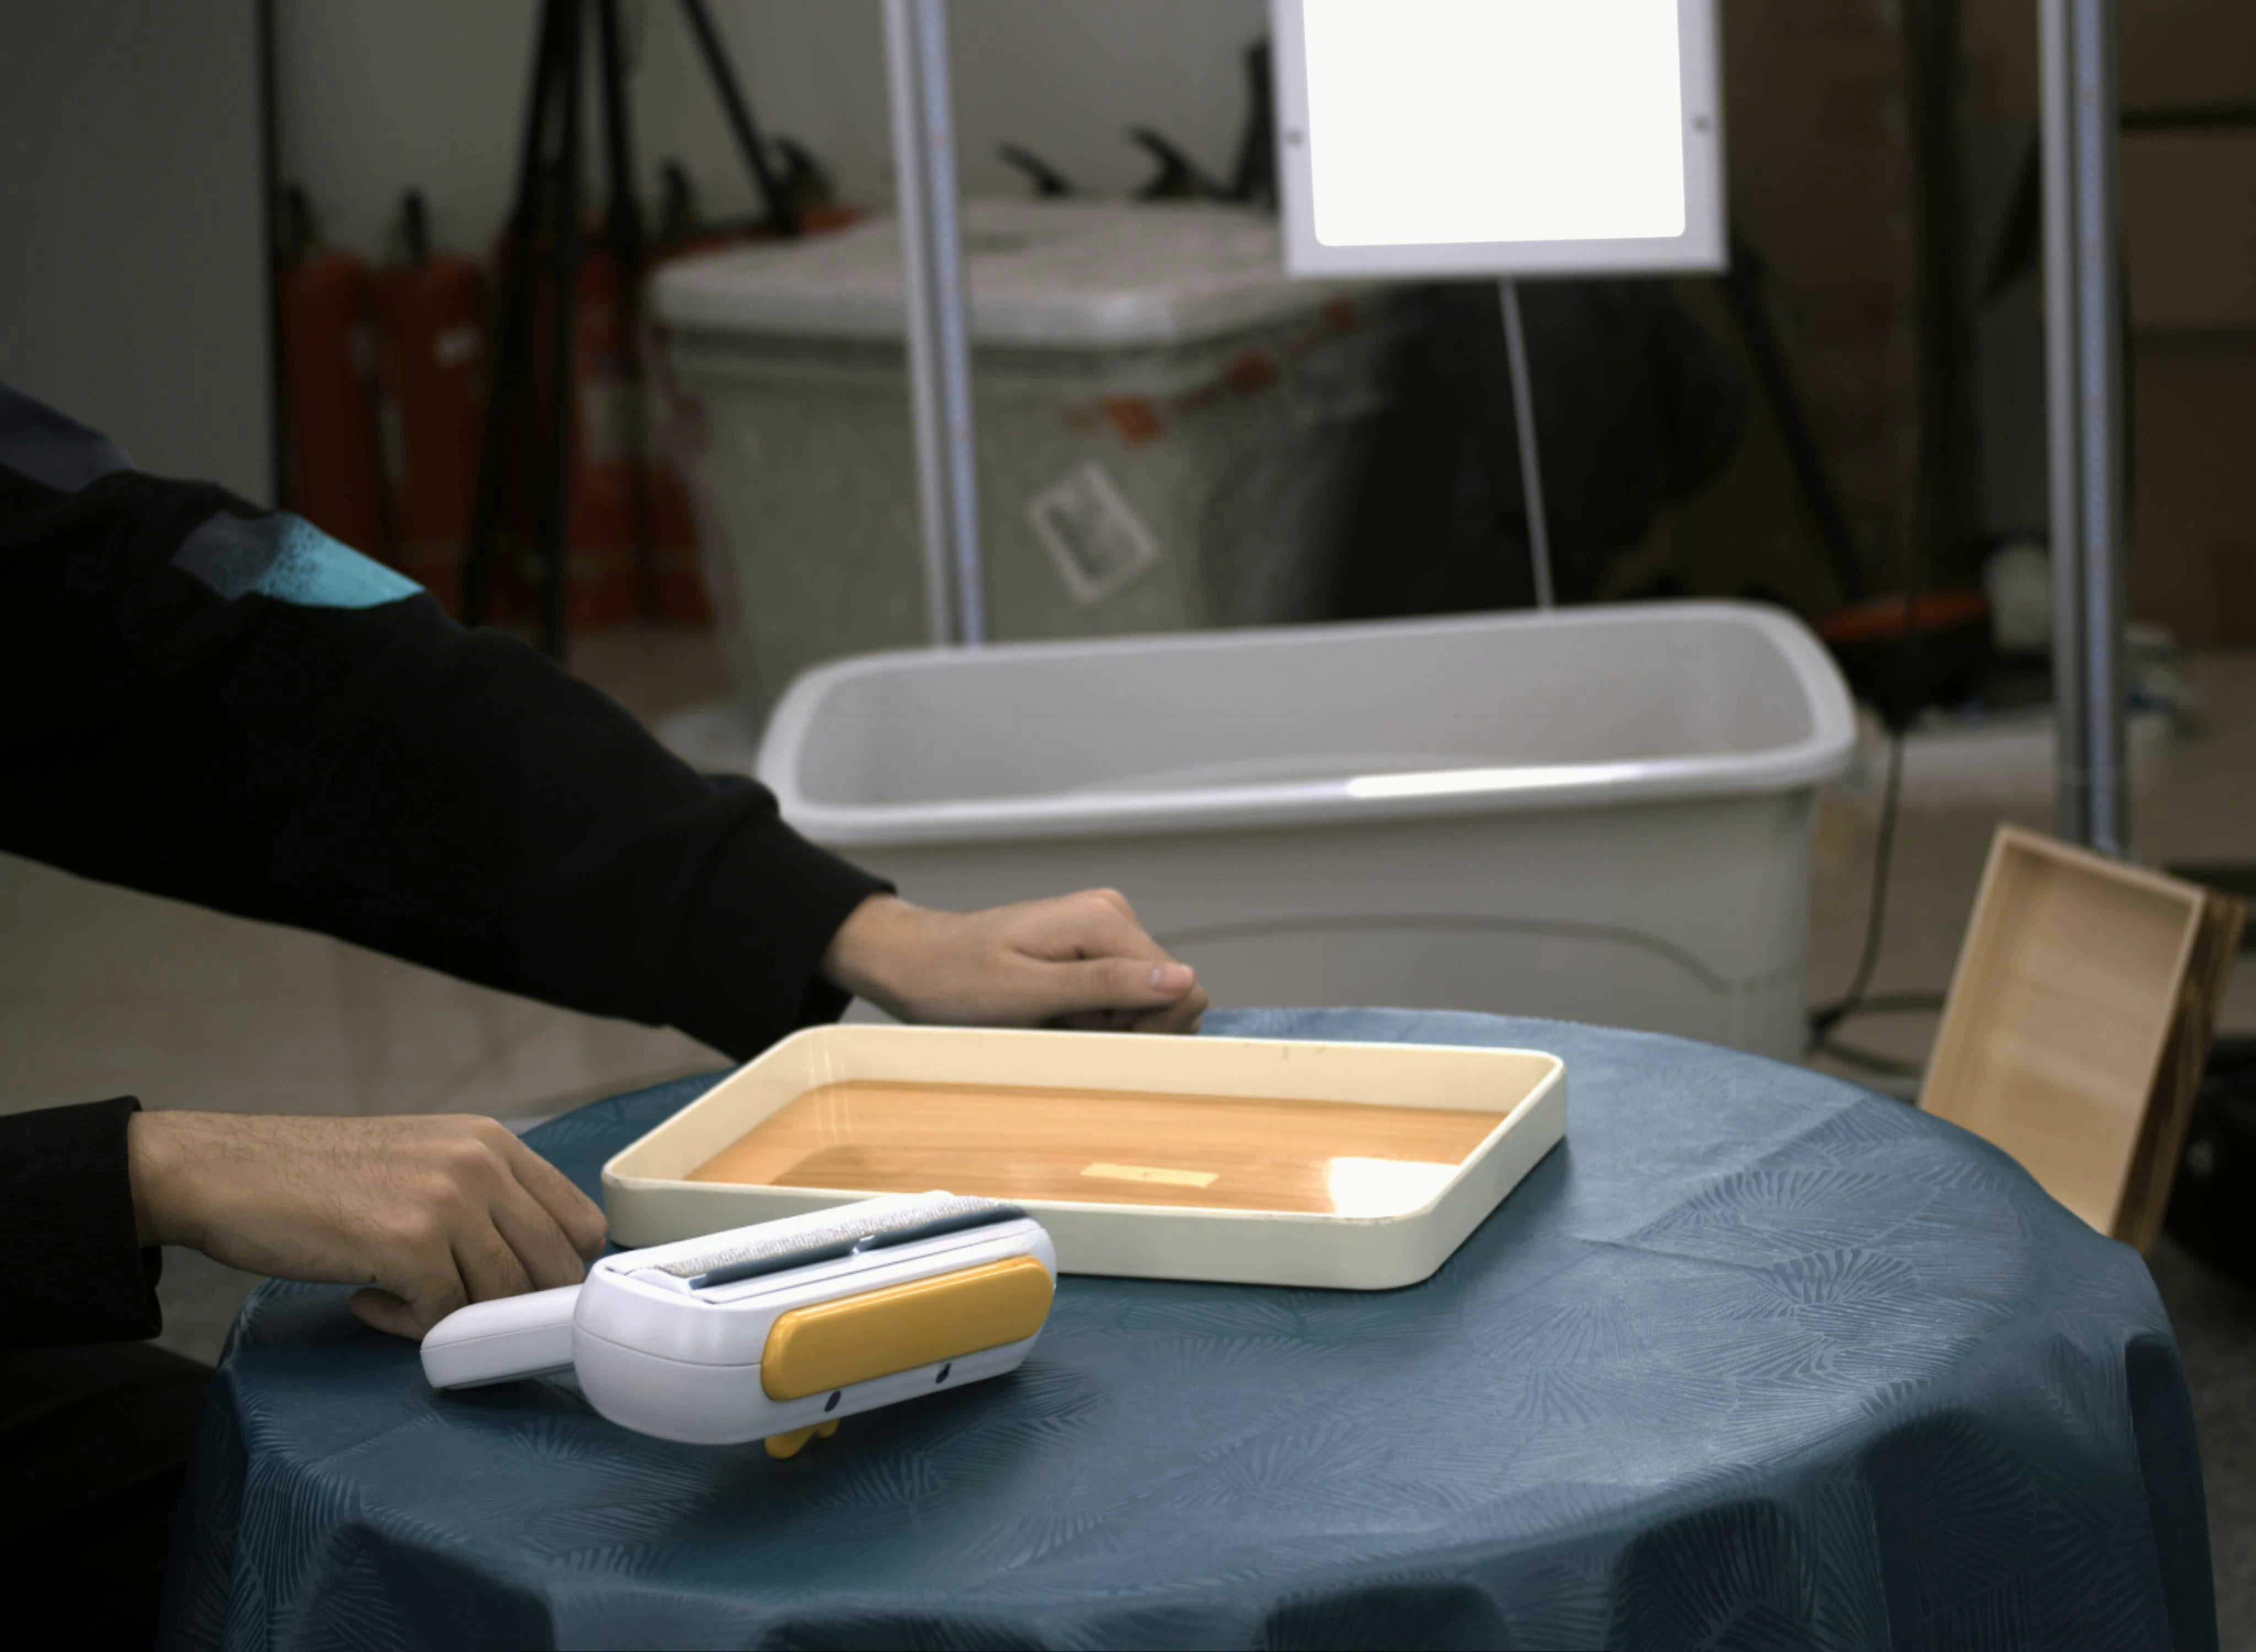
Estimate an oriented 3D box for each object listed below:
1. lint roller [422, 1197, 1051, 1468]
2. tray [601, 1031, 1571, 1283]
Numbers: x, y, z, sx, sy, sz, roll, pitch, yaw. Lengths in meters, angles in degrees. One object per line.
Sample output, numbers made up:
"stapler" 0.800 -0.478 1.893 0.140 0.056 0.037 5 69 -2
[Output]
"lint roller" -0.144 0.152 1.702 0.196 0.074 0.188 4 11 38
"tray" -0.012 0.112 1.902 0.305 0.027 0.188 1 14 24
